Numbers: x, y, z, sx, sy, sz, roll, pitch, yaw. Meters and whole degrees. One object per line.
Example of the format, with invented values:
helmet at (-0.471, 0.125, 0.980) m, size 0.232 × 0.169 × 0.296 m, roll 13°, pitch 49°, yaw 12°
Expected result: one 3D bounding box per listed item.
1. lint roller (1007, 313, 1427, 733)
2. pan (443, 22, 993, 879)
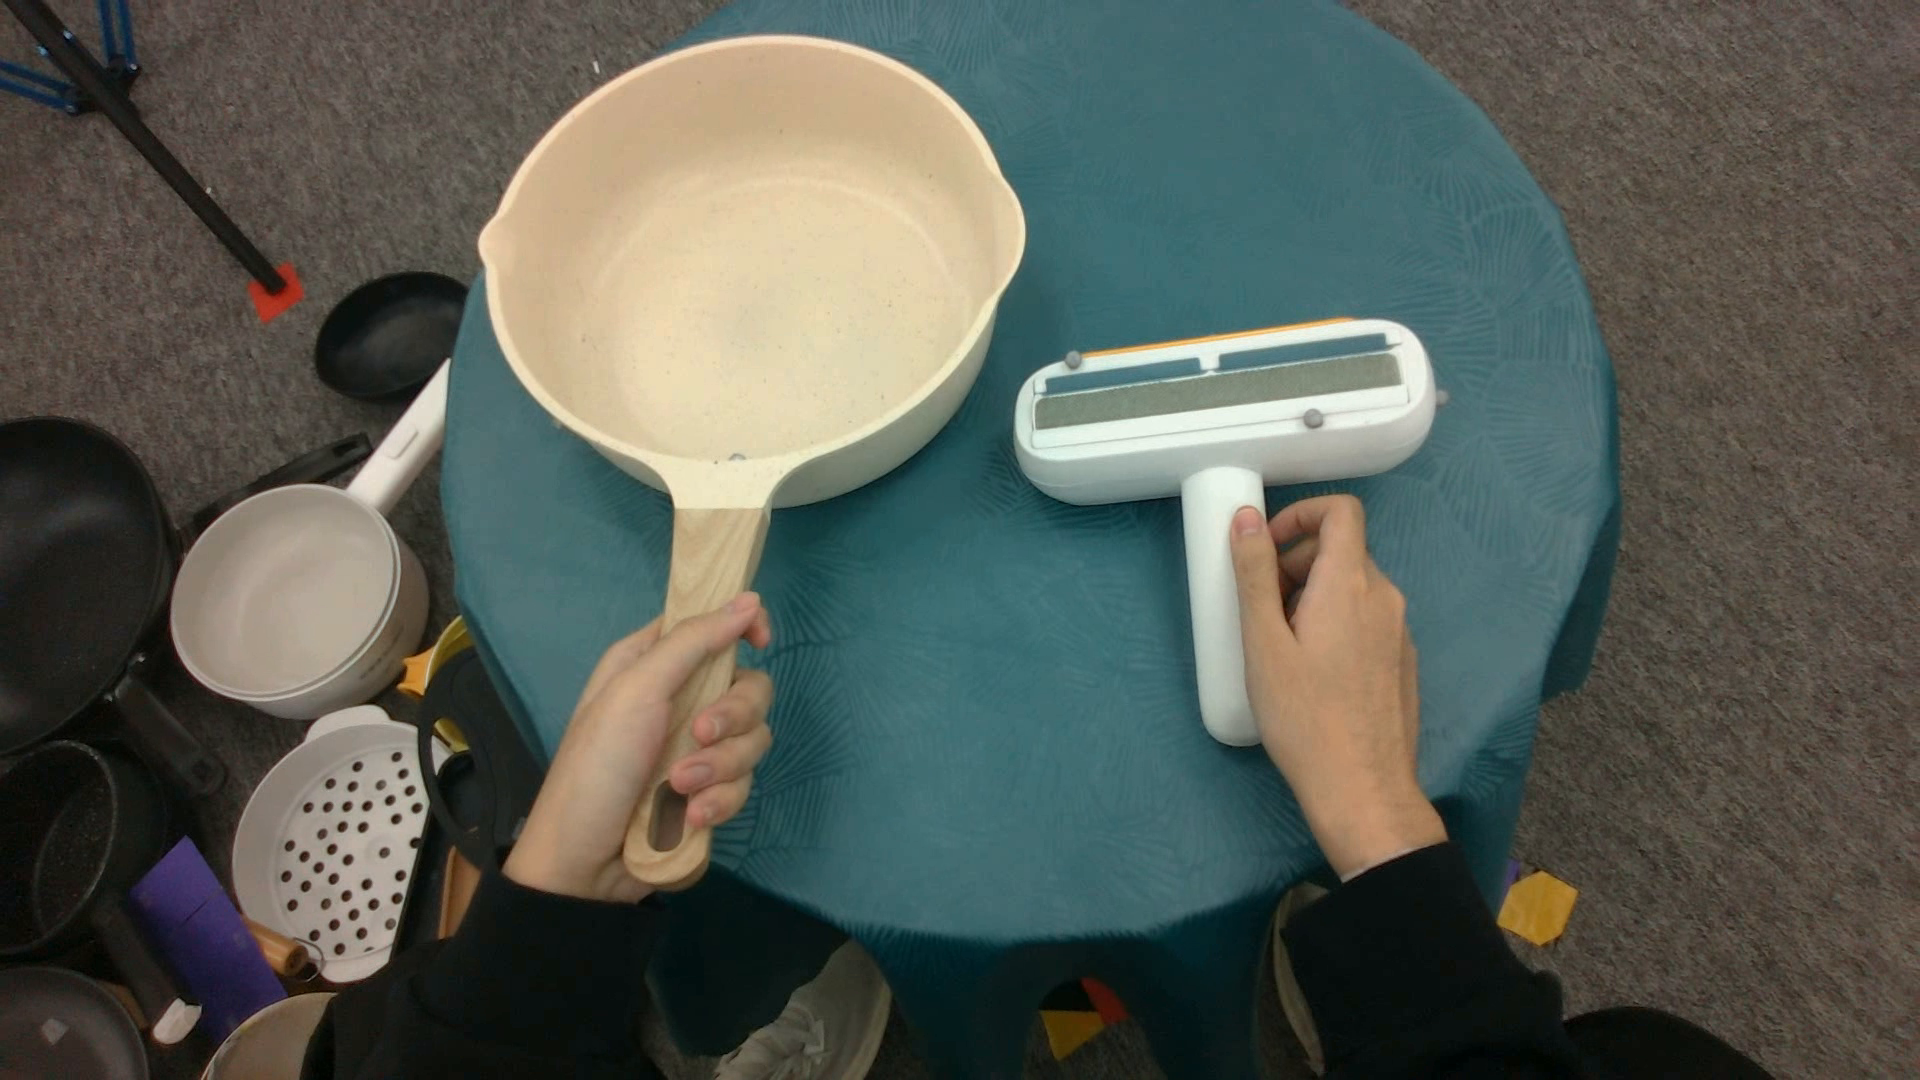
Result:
lint roller at (0.116, -0.010, 0.633) m, size 0.192 × 0.074 × 0.193 m, roll -1°, pitch 67°, yaw 11°
pan at (-0.116, -0.055, 0.647) m, size 0.263 × 0.101 × 0.436 m, roll 0°, pitch 65°, yaw 0°
